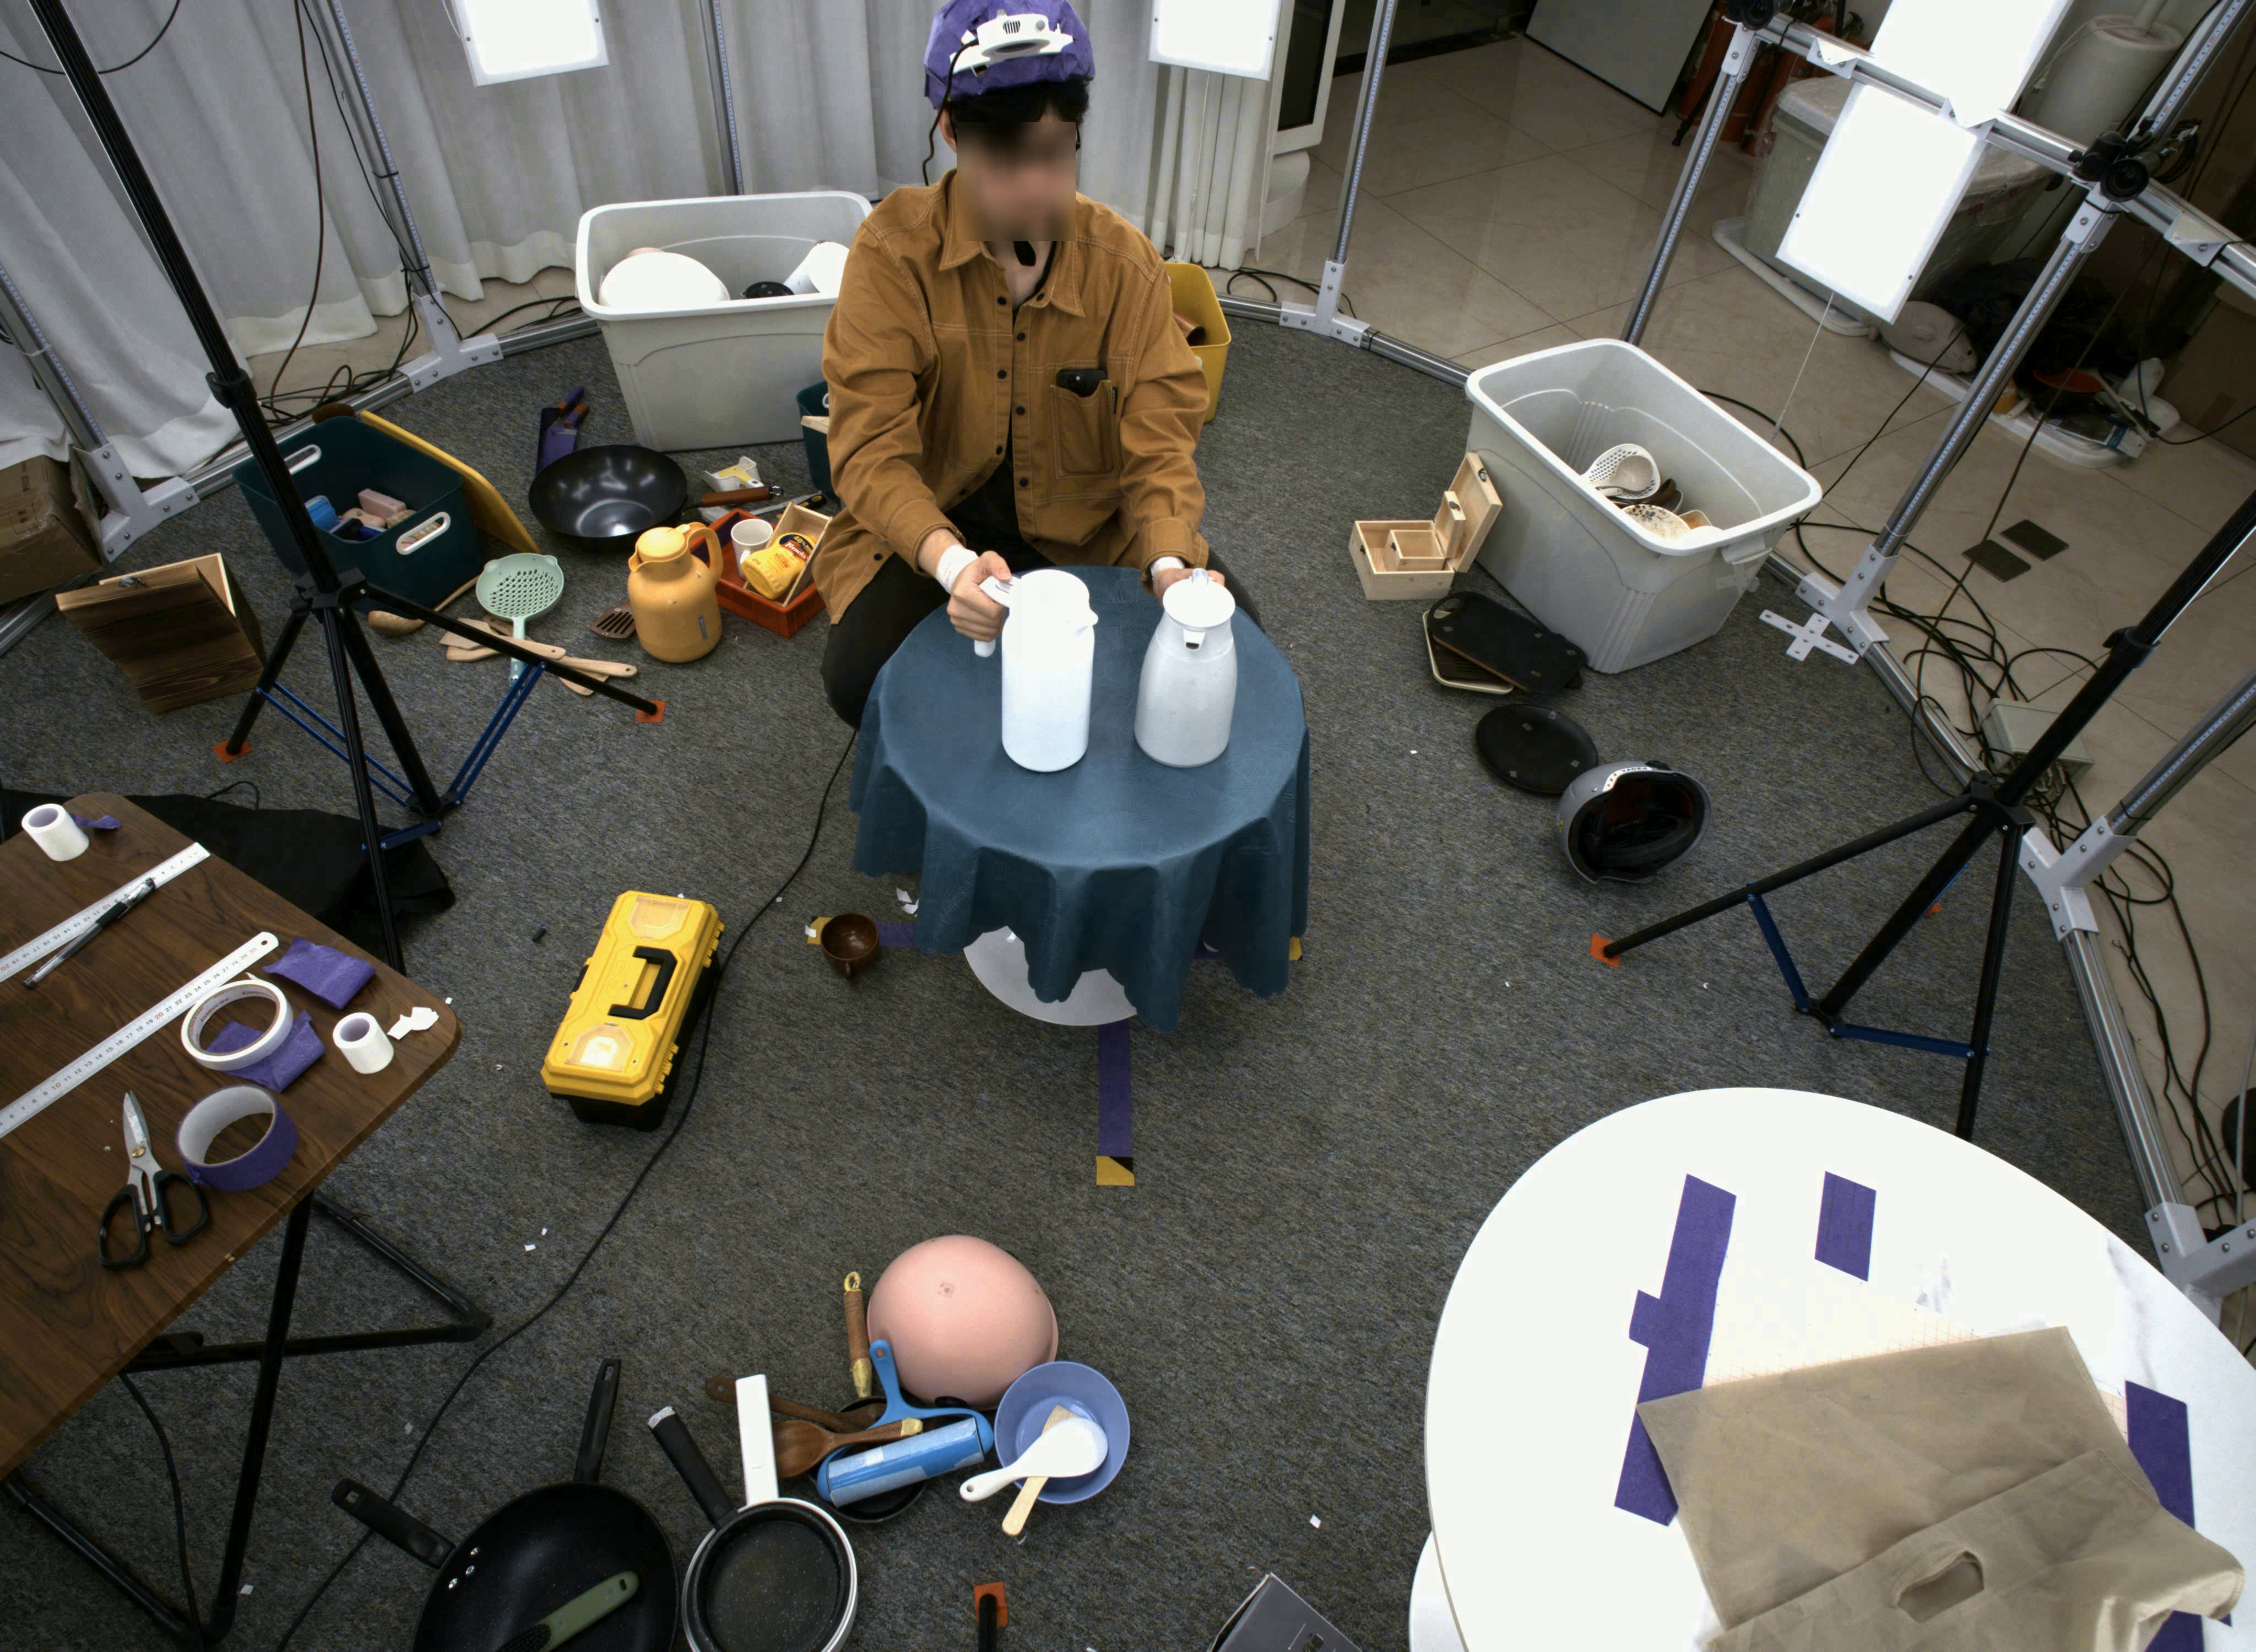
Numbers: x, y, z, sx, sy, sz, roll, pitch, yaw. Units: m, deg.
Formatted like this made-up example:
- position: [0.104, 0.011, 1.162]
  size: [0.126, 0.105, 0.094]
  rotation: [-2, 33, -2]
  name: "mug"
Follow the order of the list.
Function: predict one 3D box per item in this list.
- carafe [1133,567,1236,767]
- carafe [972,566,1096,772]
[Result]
- position: [0.082, -0.223, 1.707]
  size: [0.132, 0.242, 0.172]
  rotation: [7, 48, 2]
  name: "carafe"
- position: [-0.122, -0.204, 1.666]
  size: [0.174, 0.262, 0.126]
  rotation: [25, 54, 17]
  name: "carafe"
